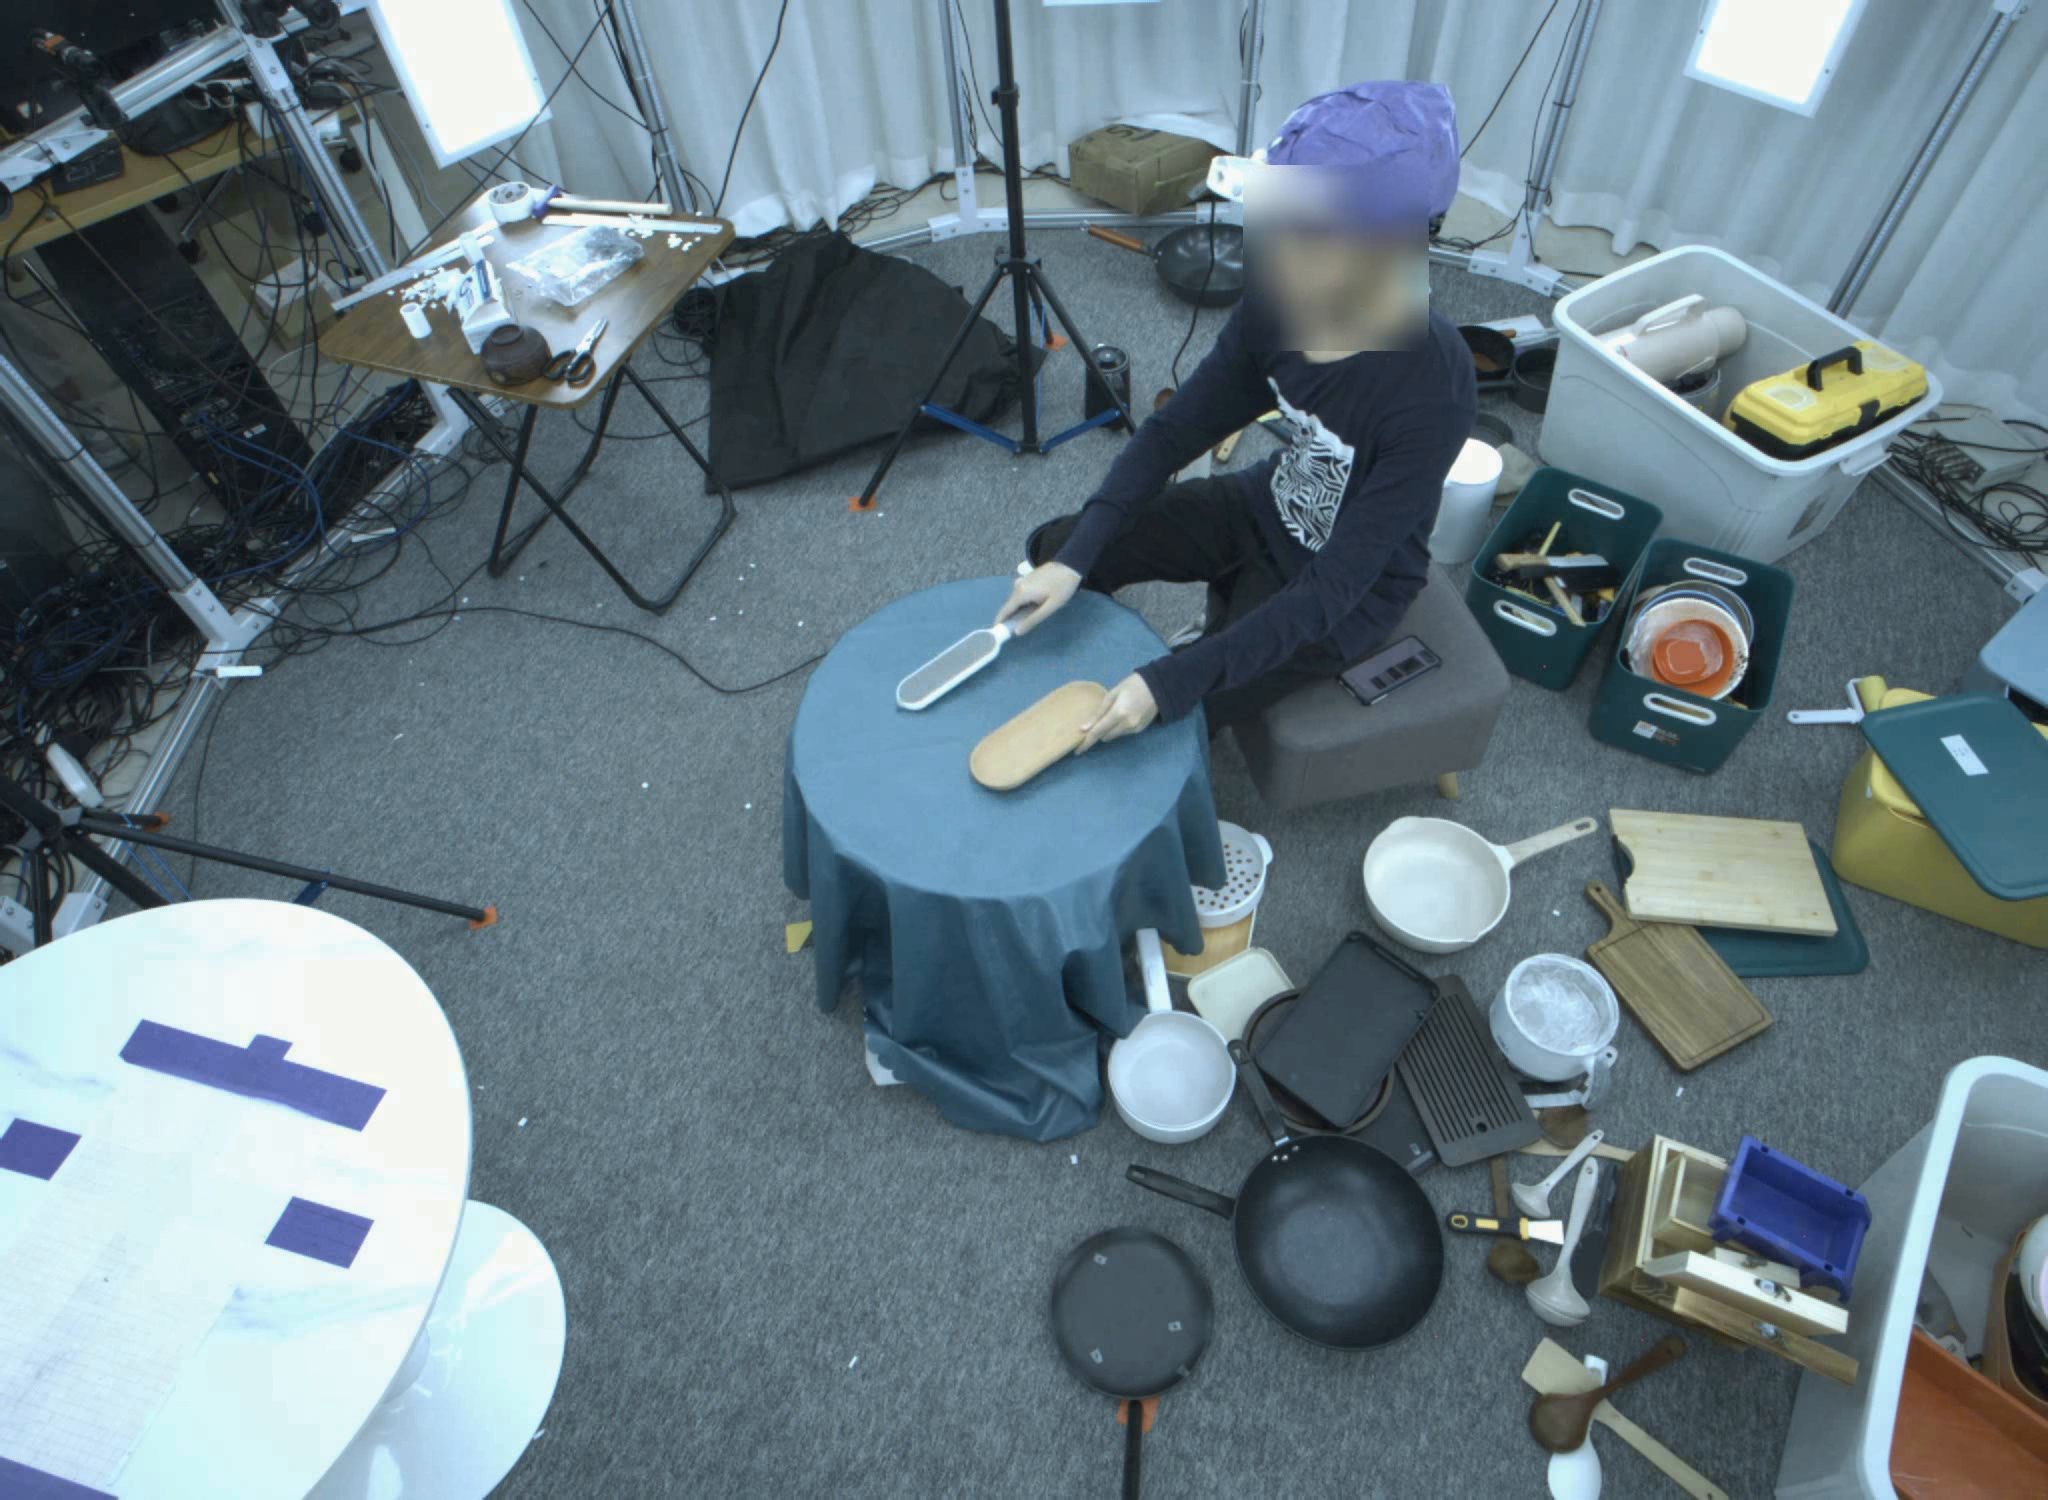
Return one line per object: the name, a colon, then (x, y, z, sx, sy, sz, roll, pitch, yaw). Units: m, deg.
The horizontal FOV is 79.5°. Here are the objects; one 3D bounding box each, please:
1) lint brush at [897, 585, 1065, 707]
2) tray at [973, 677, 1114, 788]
lint brush: (-0.063, -0.160, 1.868, 0.310, 0.021, 0.059, -36, 53, -11)
tray: (0.029, -0.026, 1.781, 0.232, 0.020, 0.099, -35, 55, -14)
